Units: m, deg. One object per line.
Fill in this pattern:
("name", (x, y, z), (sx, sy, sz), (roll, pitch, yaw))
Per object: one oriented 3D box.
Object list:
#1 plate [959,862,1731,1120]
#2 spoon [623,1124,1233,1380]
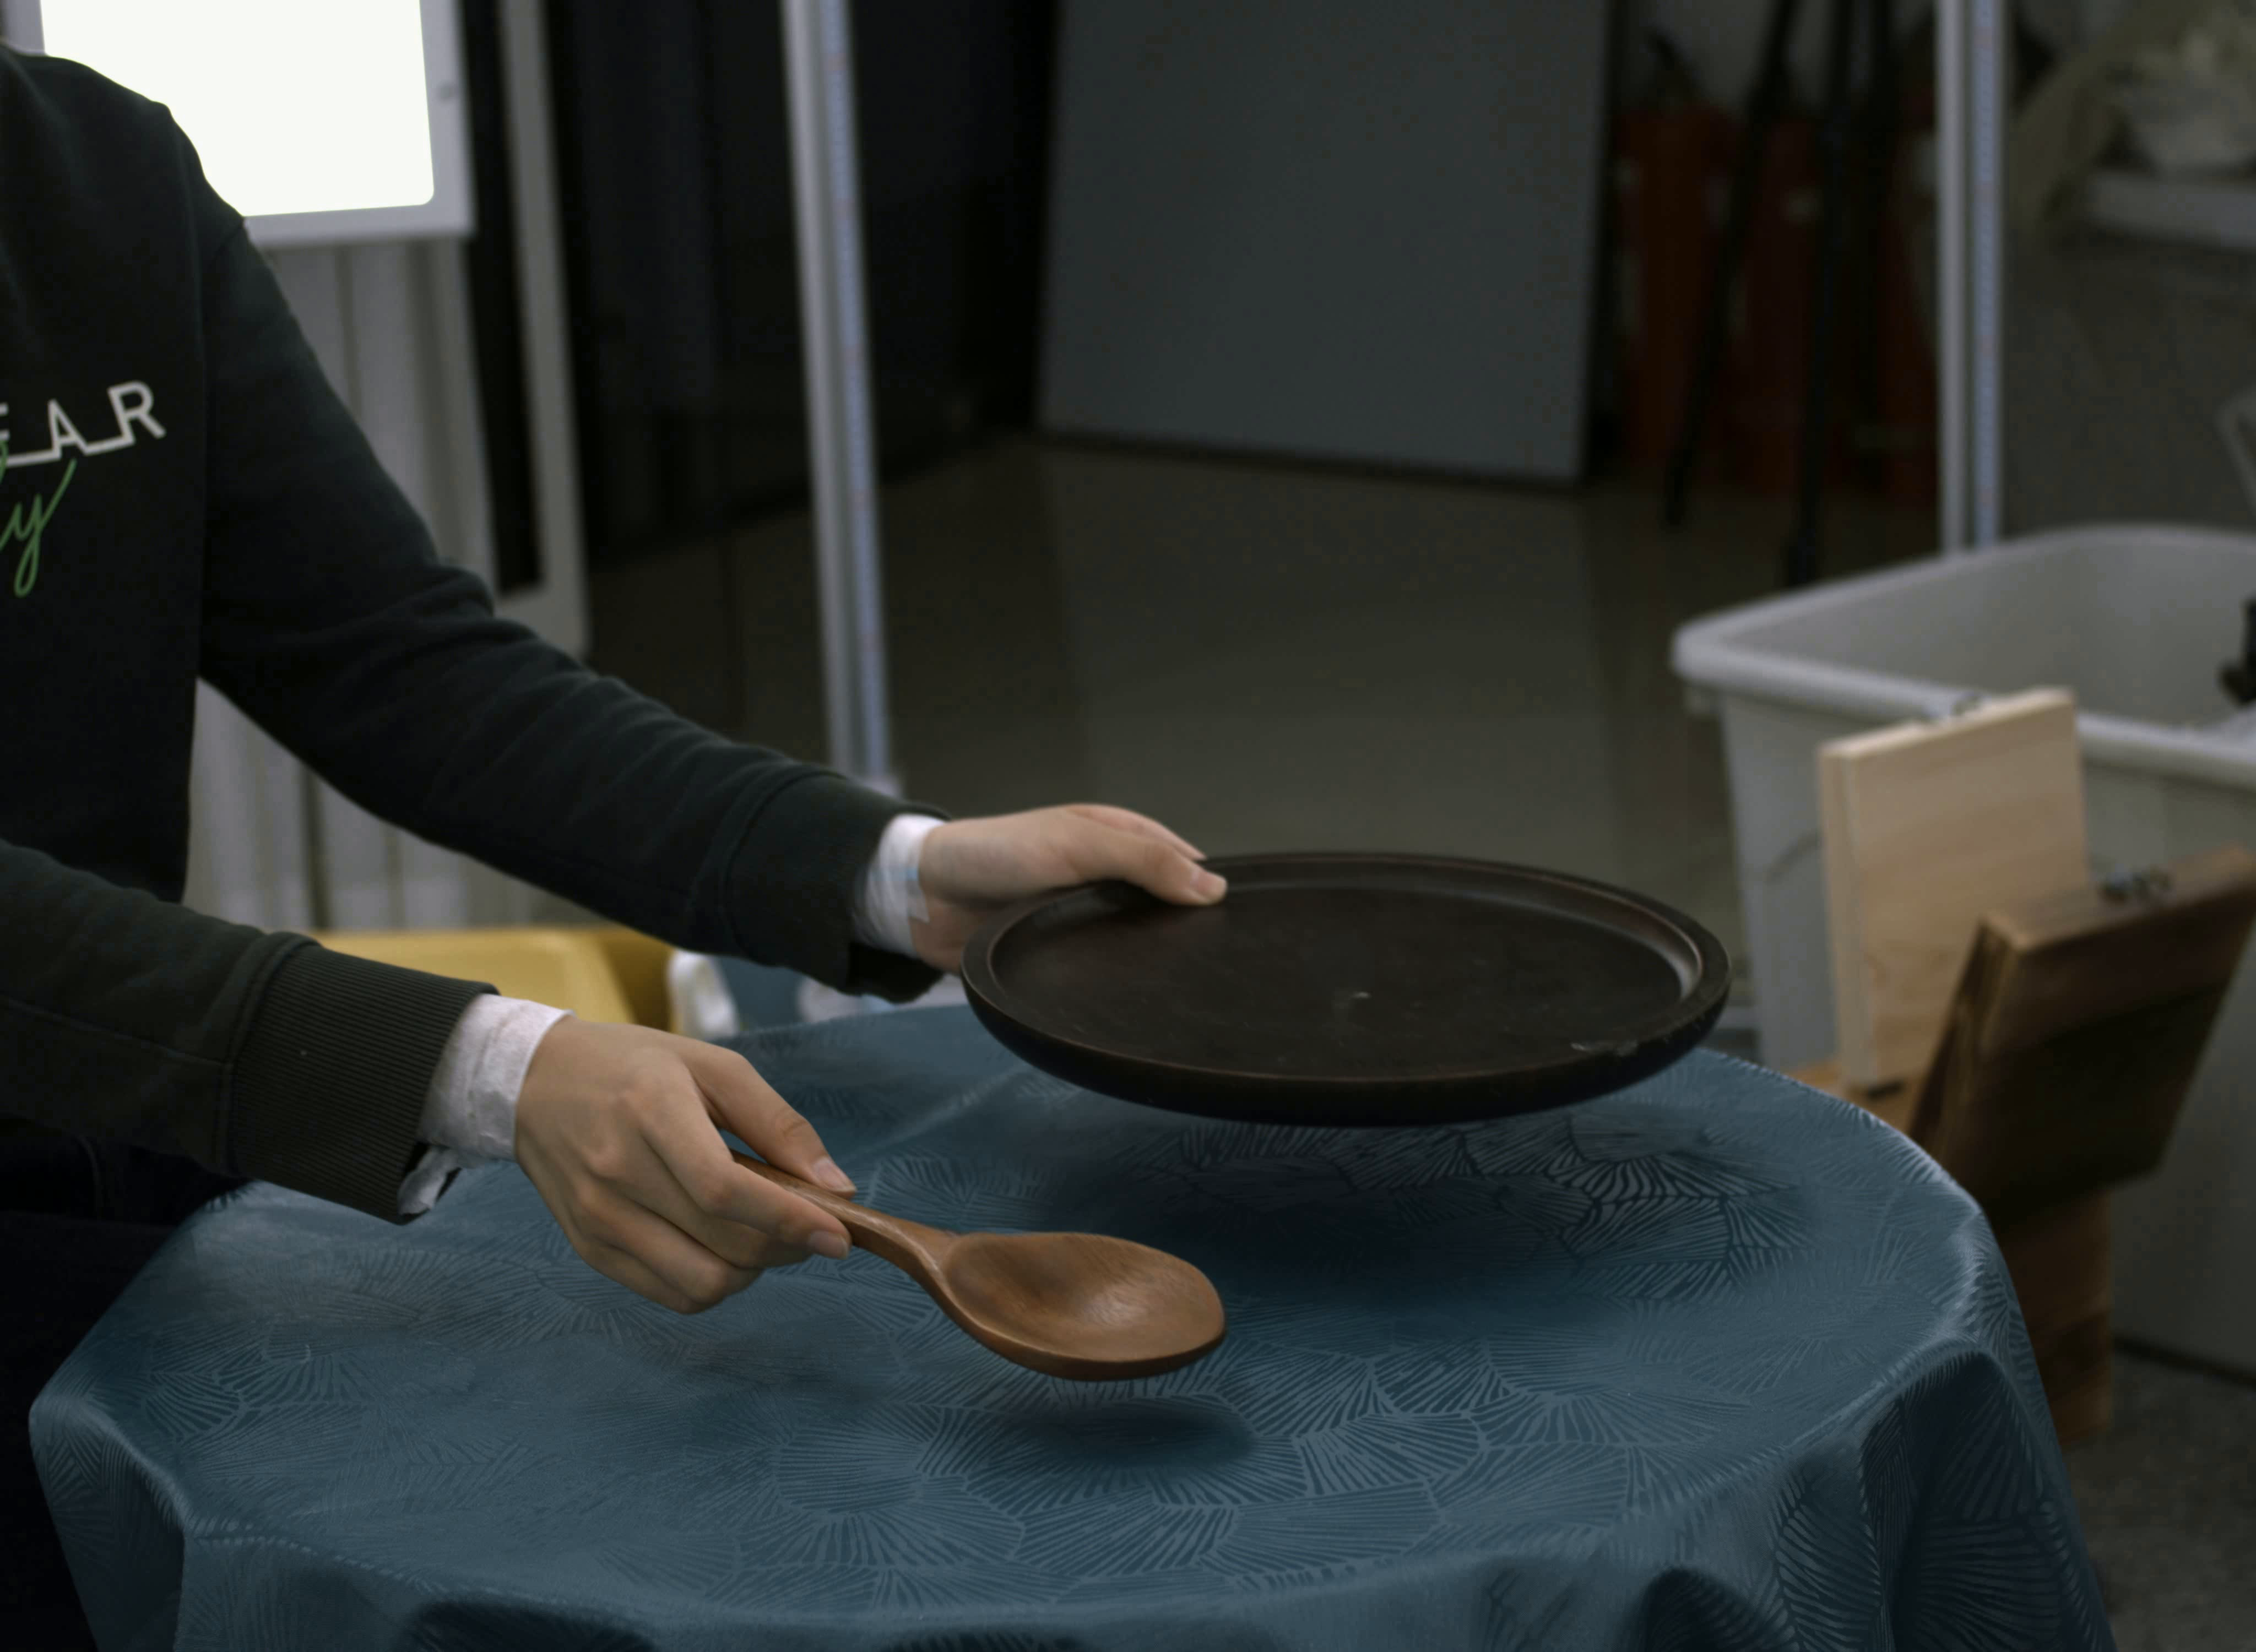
("plate", (0.070, 0.050, 1.750), (0.251, 0.029, 0.255), (0, 15, -1))
("spoon", (-0.063, 0.124, 1.596), (0.217, 0.017, 0.074), (17, 29, 33))
